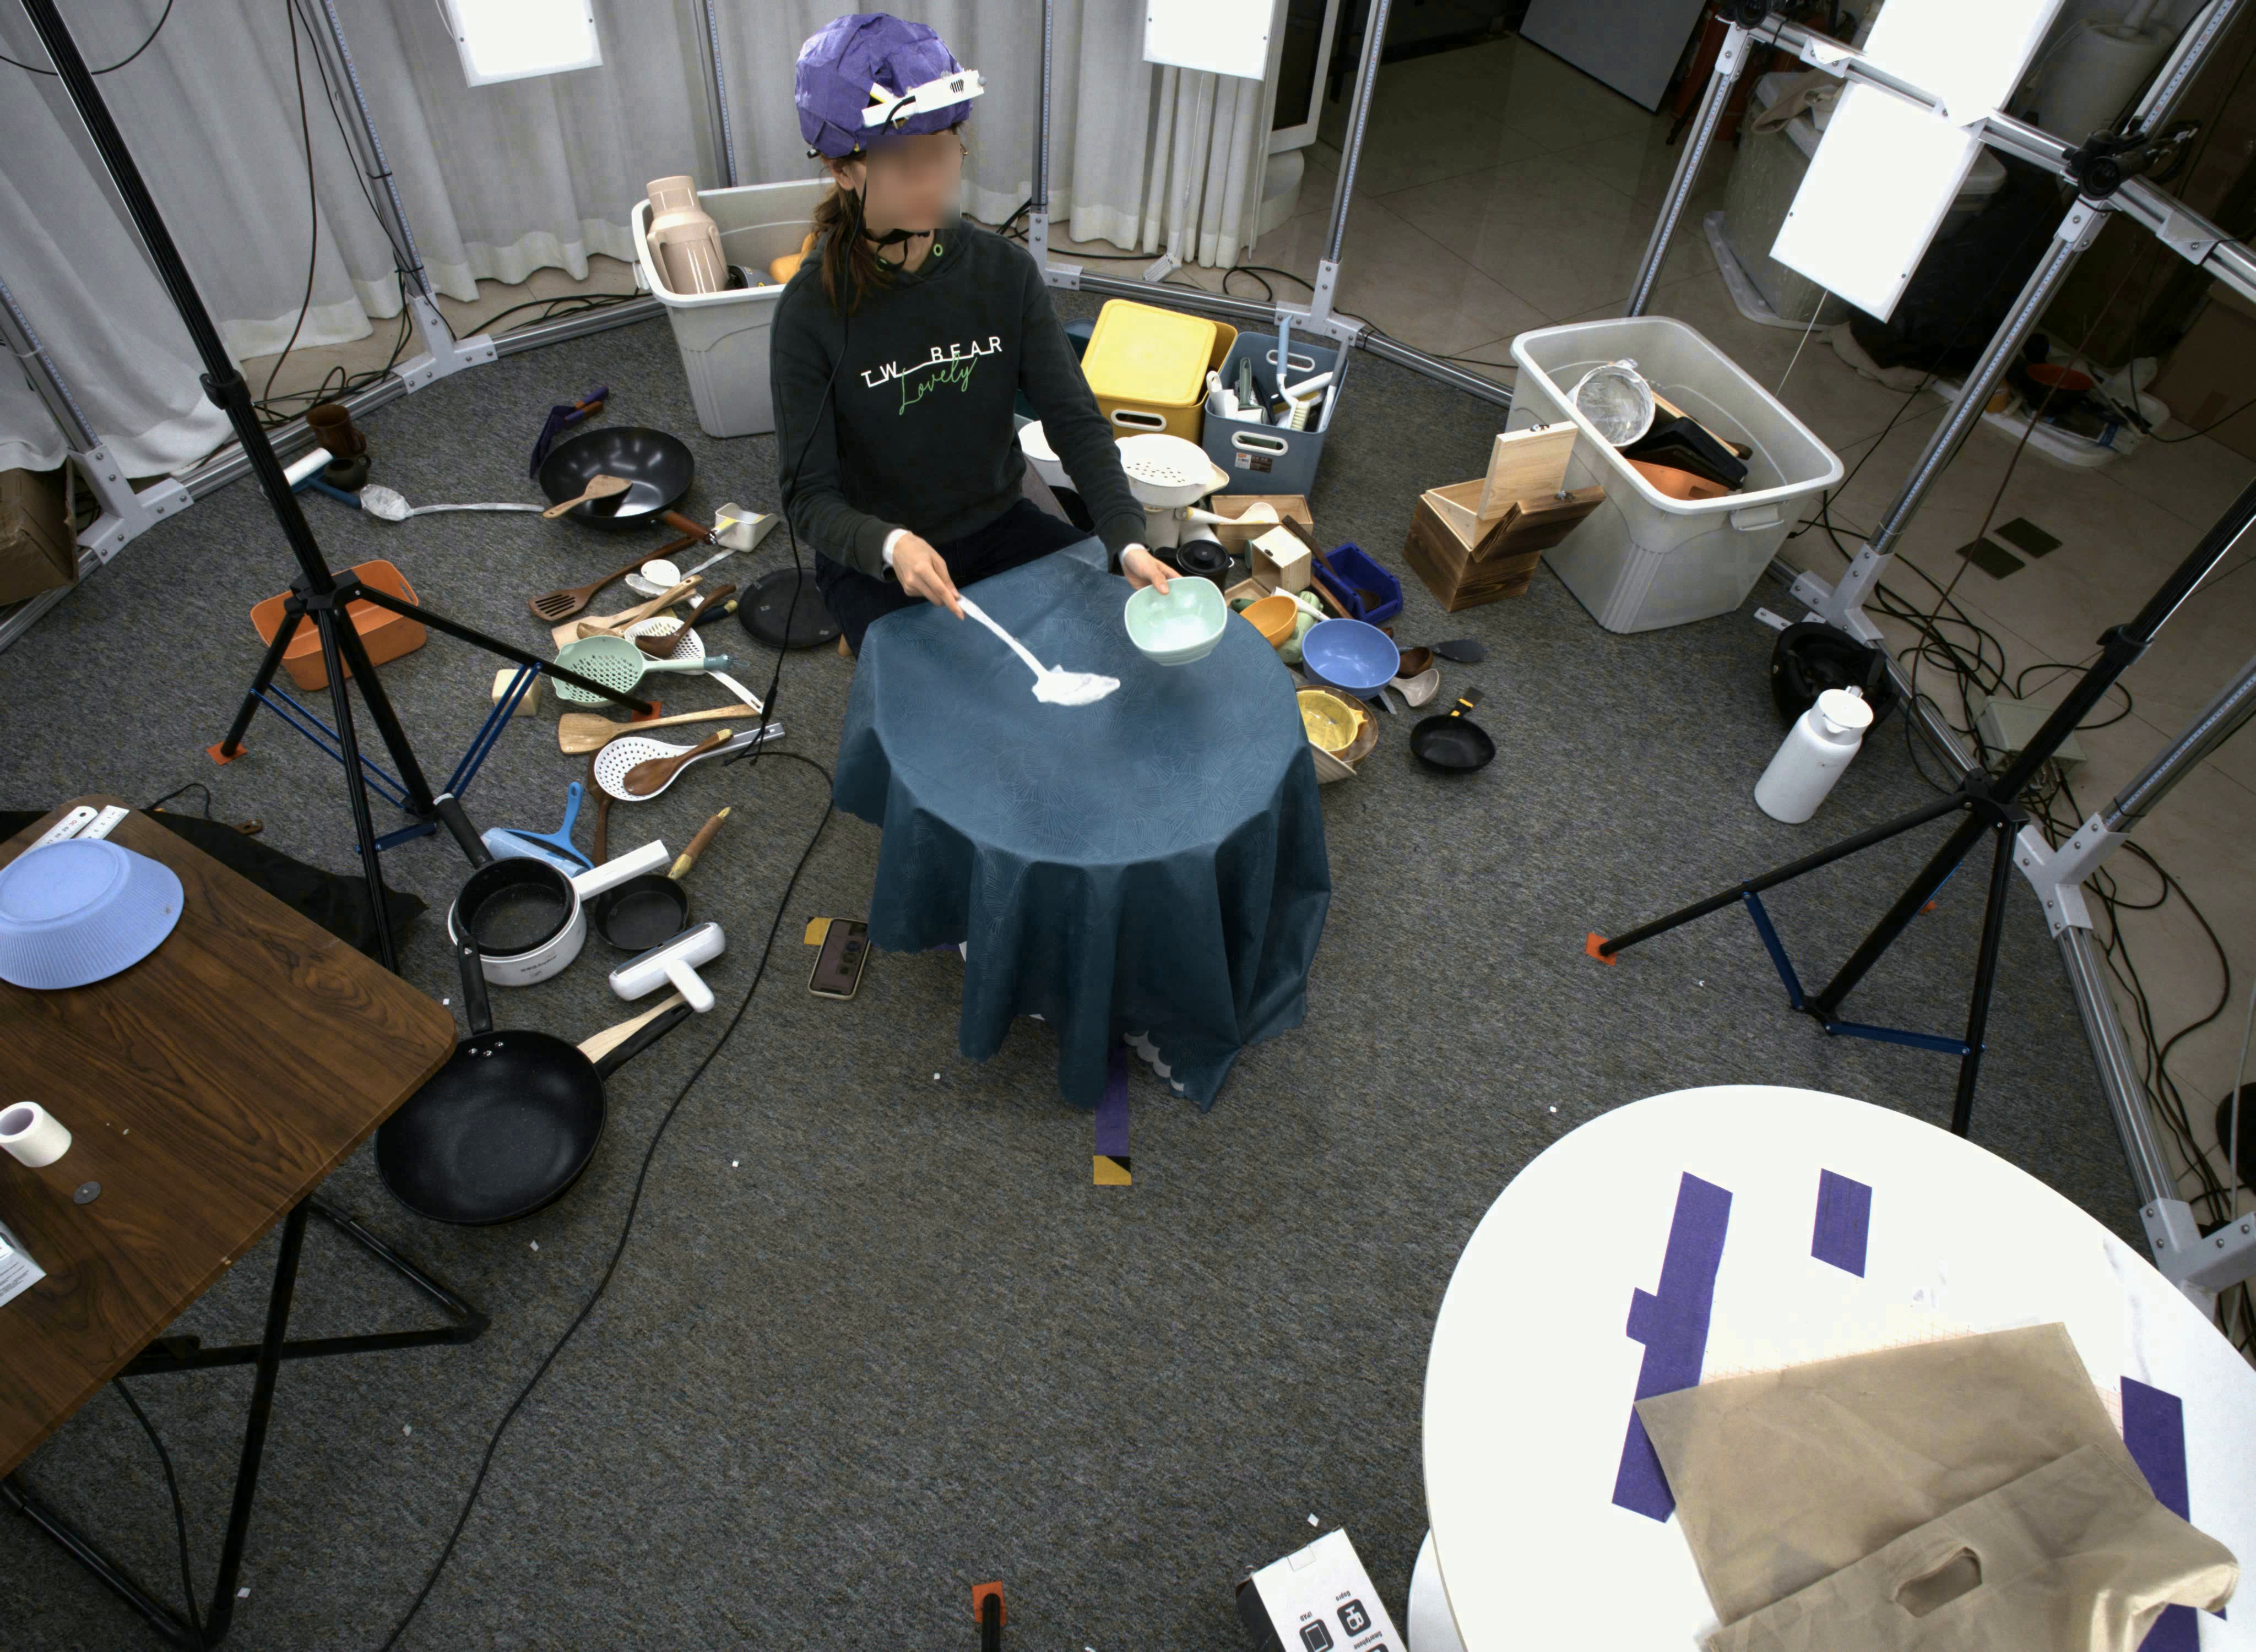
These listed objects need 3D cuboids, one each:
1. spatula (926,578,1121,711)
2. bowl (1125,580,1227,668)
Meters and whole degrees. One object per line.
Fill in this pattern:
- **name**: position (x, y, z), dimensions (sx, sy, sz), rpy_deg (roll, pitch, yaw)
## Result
- **spatula**: position (-0.158, -0.250, 1.706), dimensions (0.099, 0.044, 0.371), rpy_deg (-28, 56, -35)
- **bowl**: position (0.069, -0.272, 1.783), dimensions (0.151, 0.057, 0.155), rpy_deg (-5, 51, 6)
